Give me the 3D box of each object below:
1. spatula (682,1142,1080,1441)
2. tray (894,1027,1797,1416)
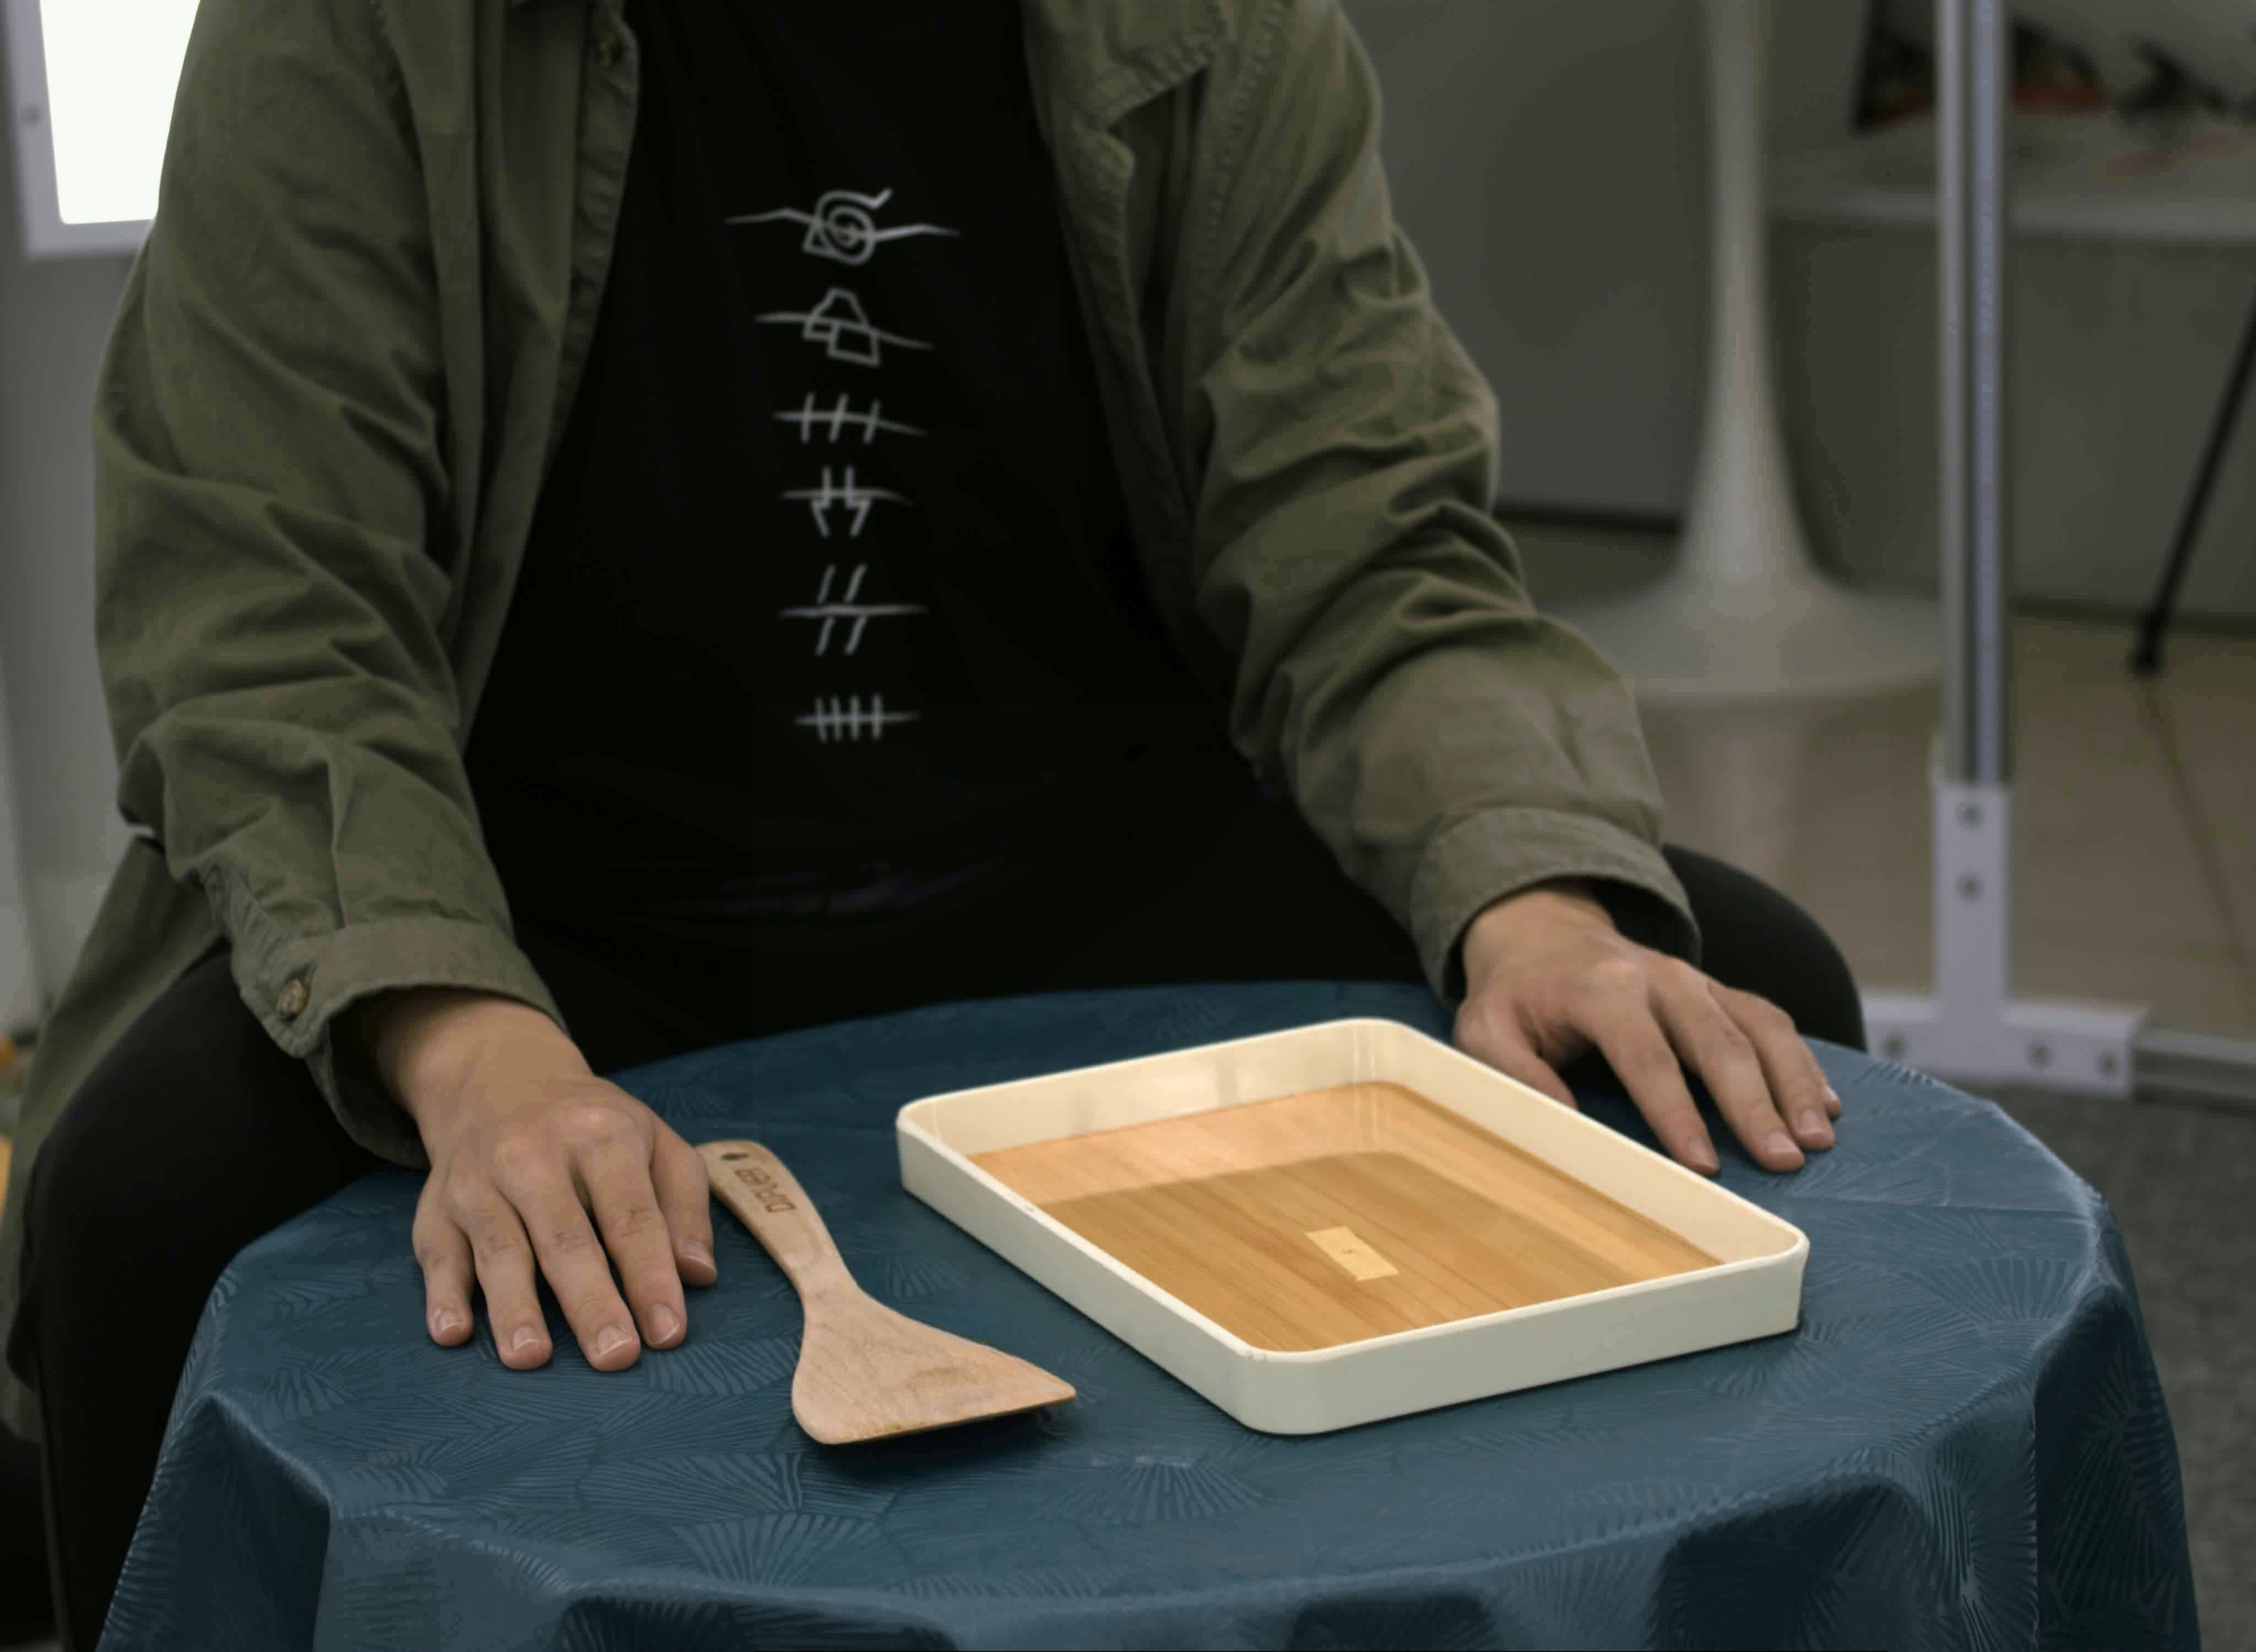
[{"bbox_3d":[-0.092,0.140,1.684,0.078,0.017,0.330,-7,14,-16],"label":"spatula"},{"bbox_3d":[0.062,0.120,1.698,0.187,0.028,0.303,-9,13,-21],"label":"tray"}]
